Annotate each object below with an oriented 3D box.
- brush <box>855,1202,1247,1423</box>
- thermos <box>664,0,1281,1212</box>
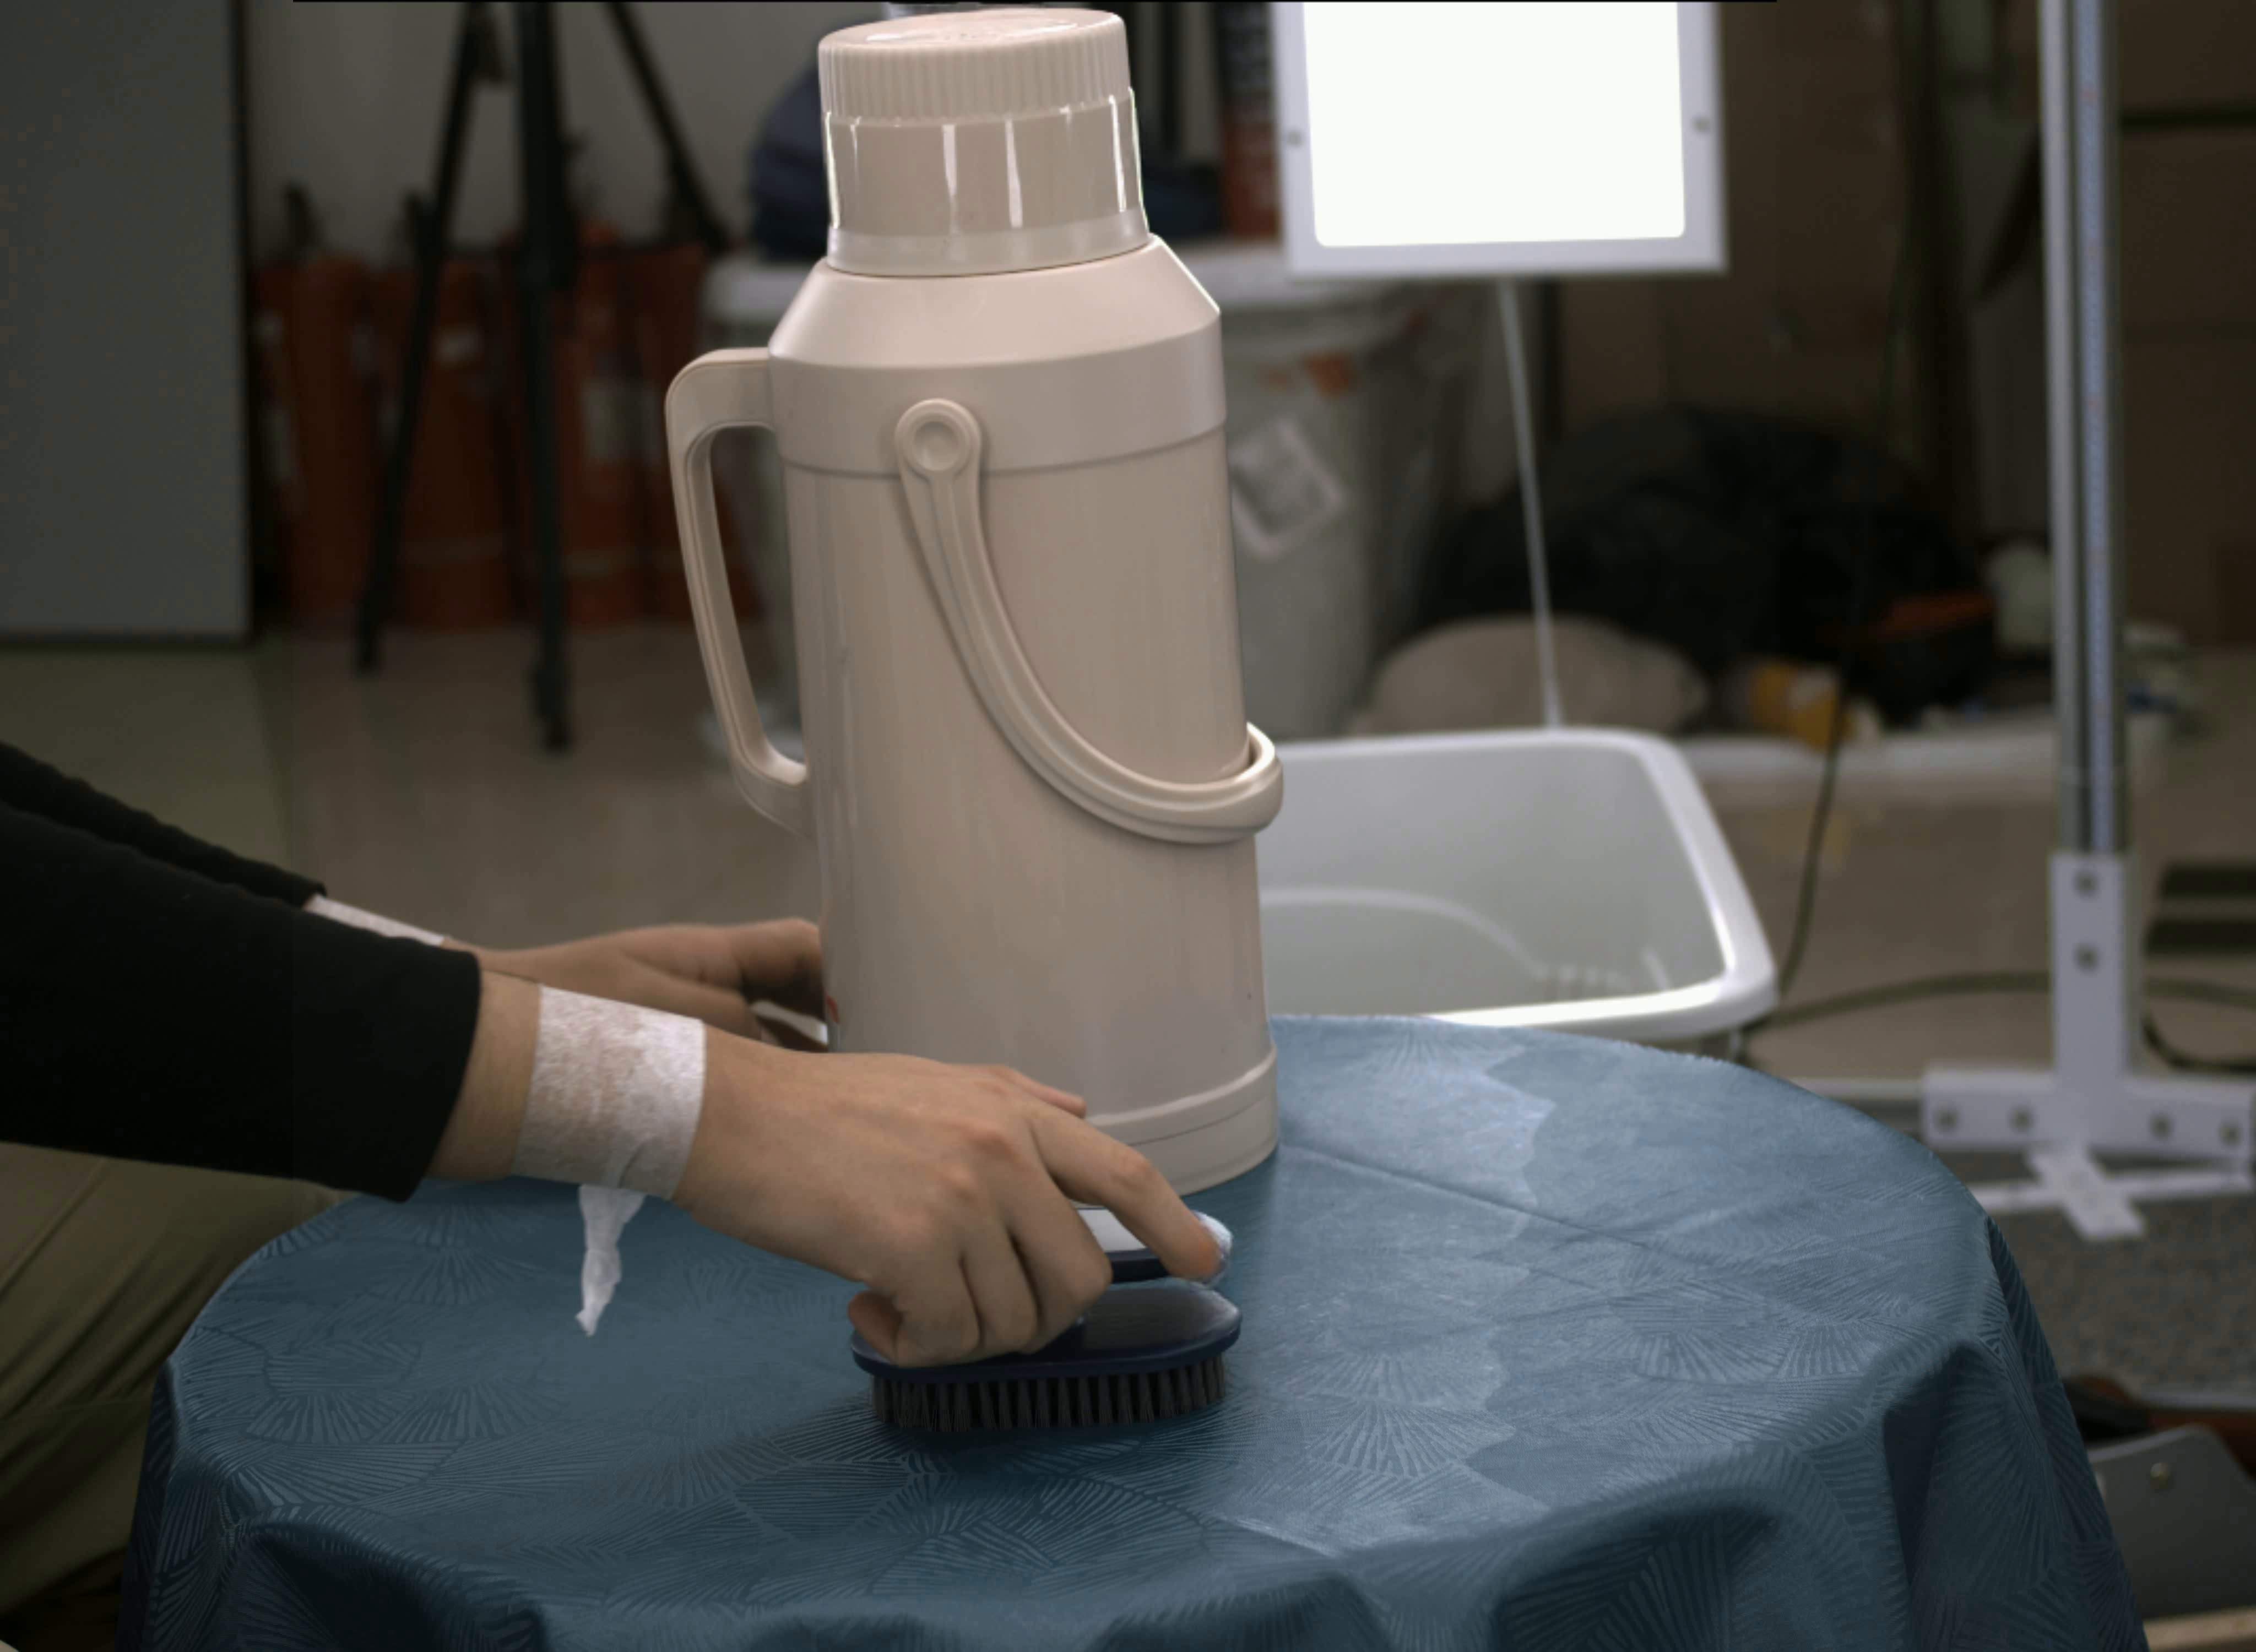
[{"bbox_3d":[-0.024,0.151,1.693,0.122,0.061,0.067,-2,13,8],"label":"brush"},{"bbox_3d":[-0.053,-0.077,1.913,0.209,0.408,0.173,-1,16,14],"label":"thermos"}]
